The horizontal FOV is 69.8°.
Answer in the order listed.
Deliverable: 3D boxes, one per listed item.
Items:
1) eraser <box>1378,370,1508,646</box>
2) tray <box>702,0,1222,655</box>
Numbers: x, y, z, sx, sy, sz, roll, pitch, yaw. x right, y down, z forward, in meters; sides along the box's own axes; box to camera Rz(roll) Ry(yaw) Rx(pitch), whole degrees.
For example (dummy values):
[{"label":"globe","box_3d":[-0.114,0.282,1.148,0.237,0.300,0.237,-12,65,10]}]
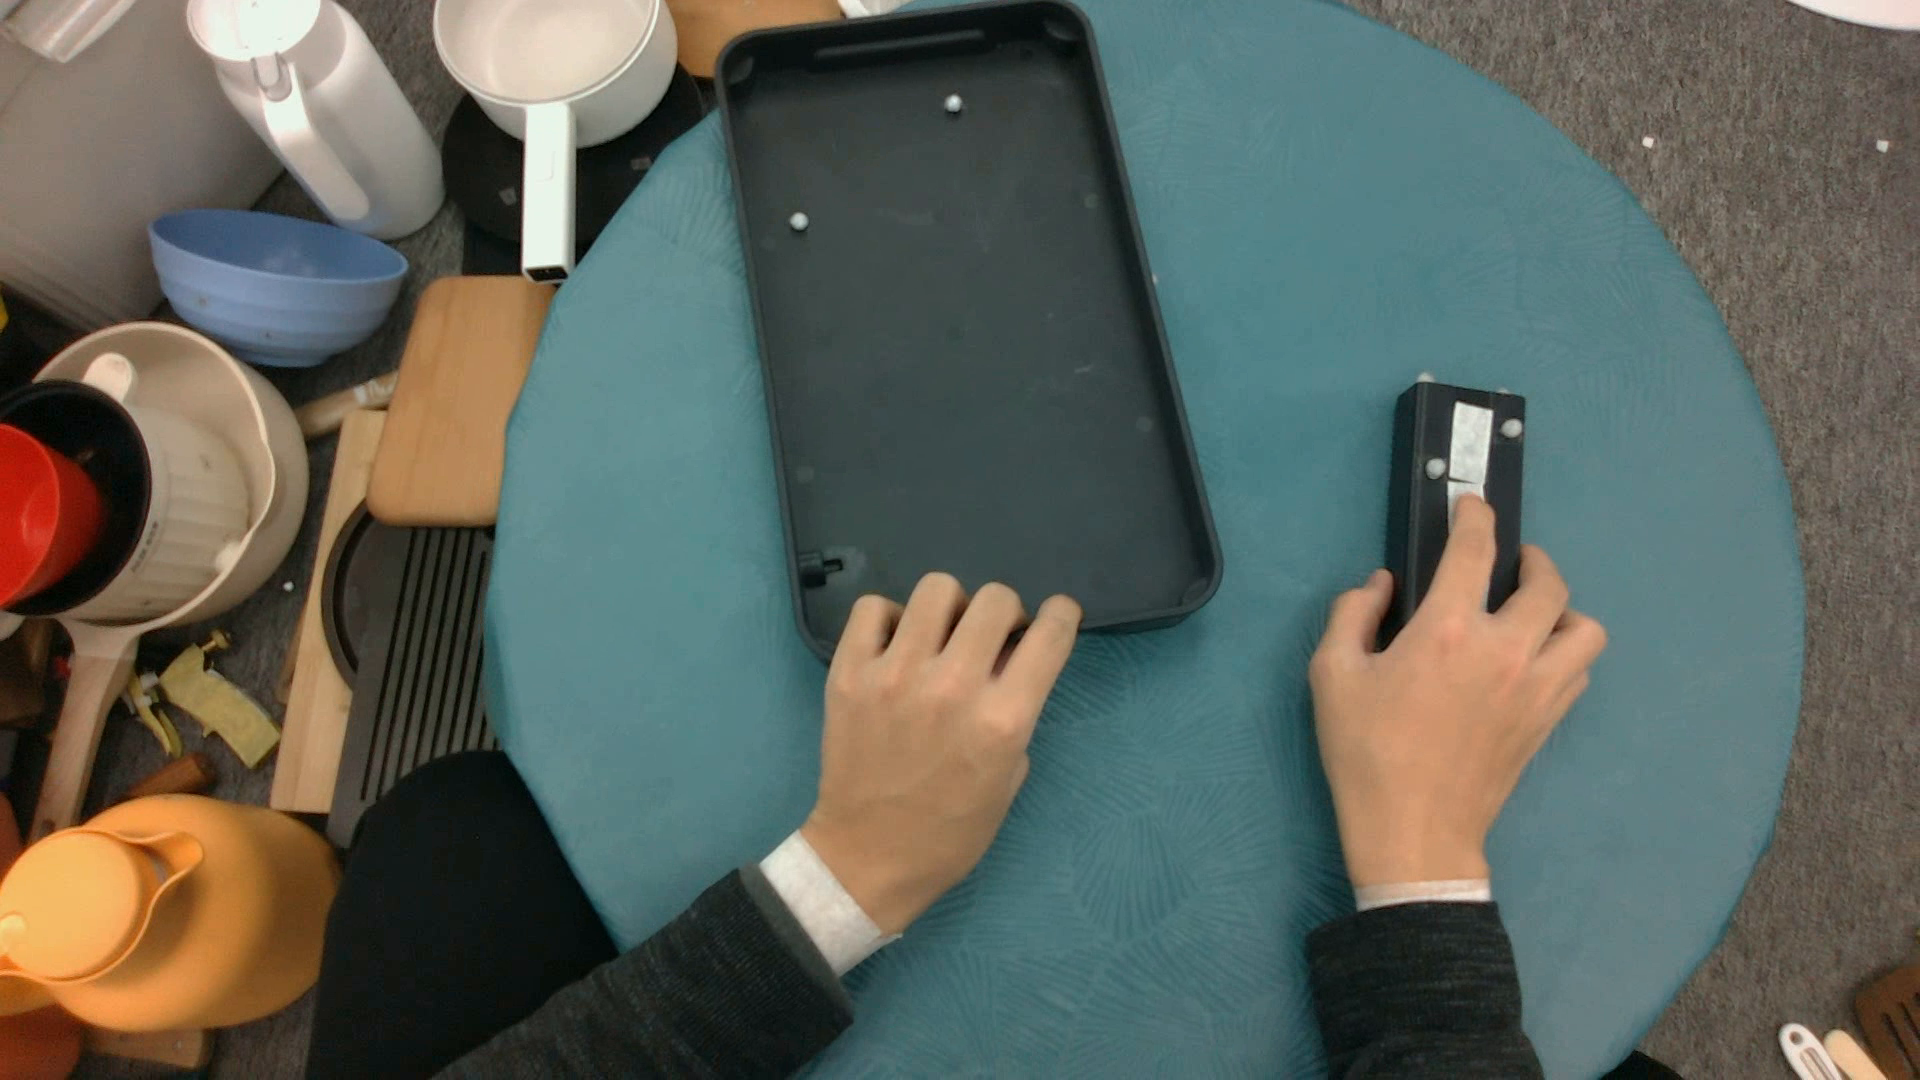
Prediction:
[{"label":"eraser","box_3d":[0.218,-0.015,0.626,0.053,0.030,0.126,5,75,1]},{"label":"tray","box_3d":[-0.006,-0.113,0.633,0.184,0.037,0.318,-10,73,-6]}]
